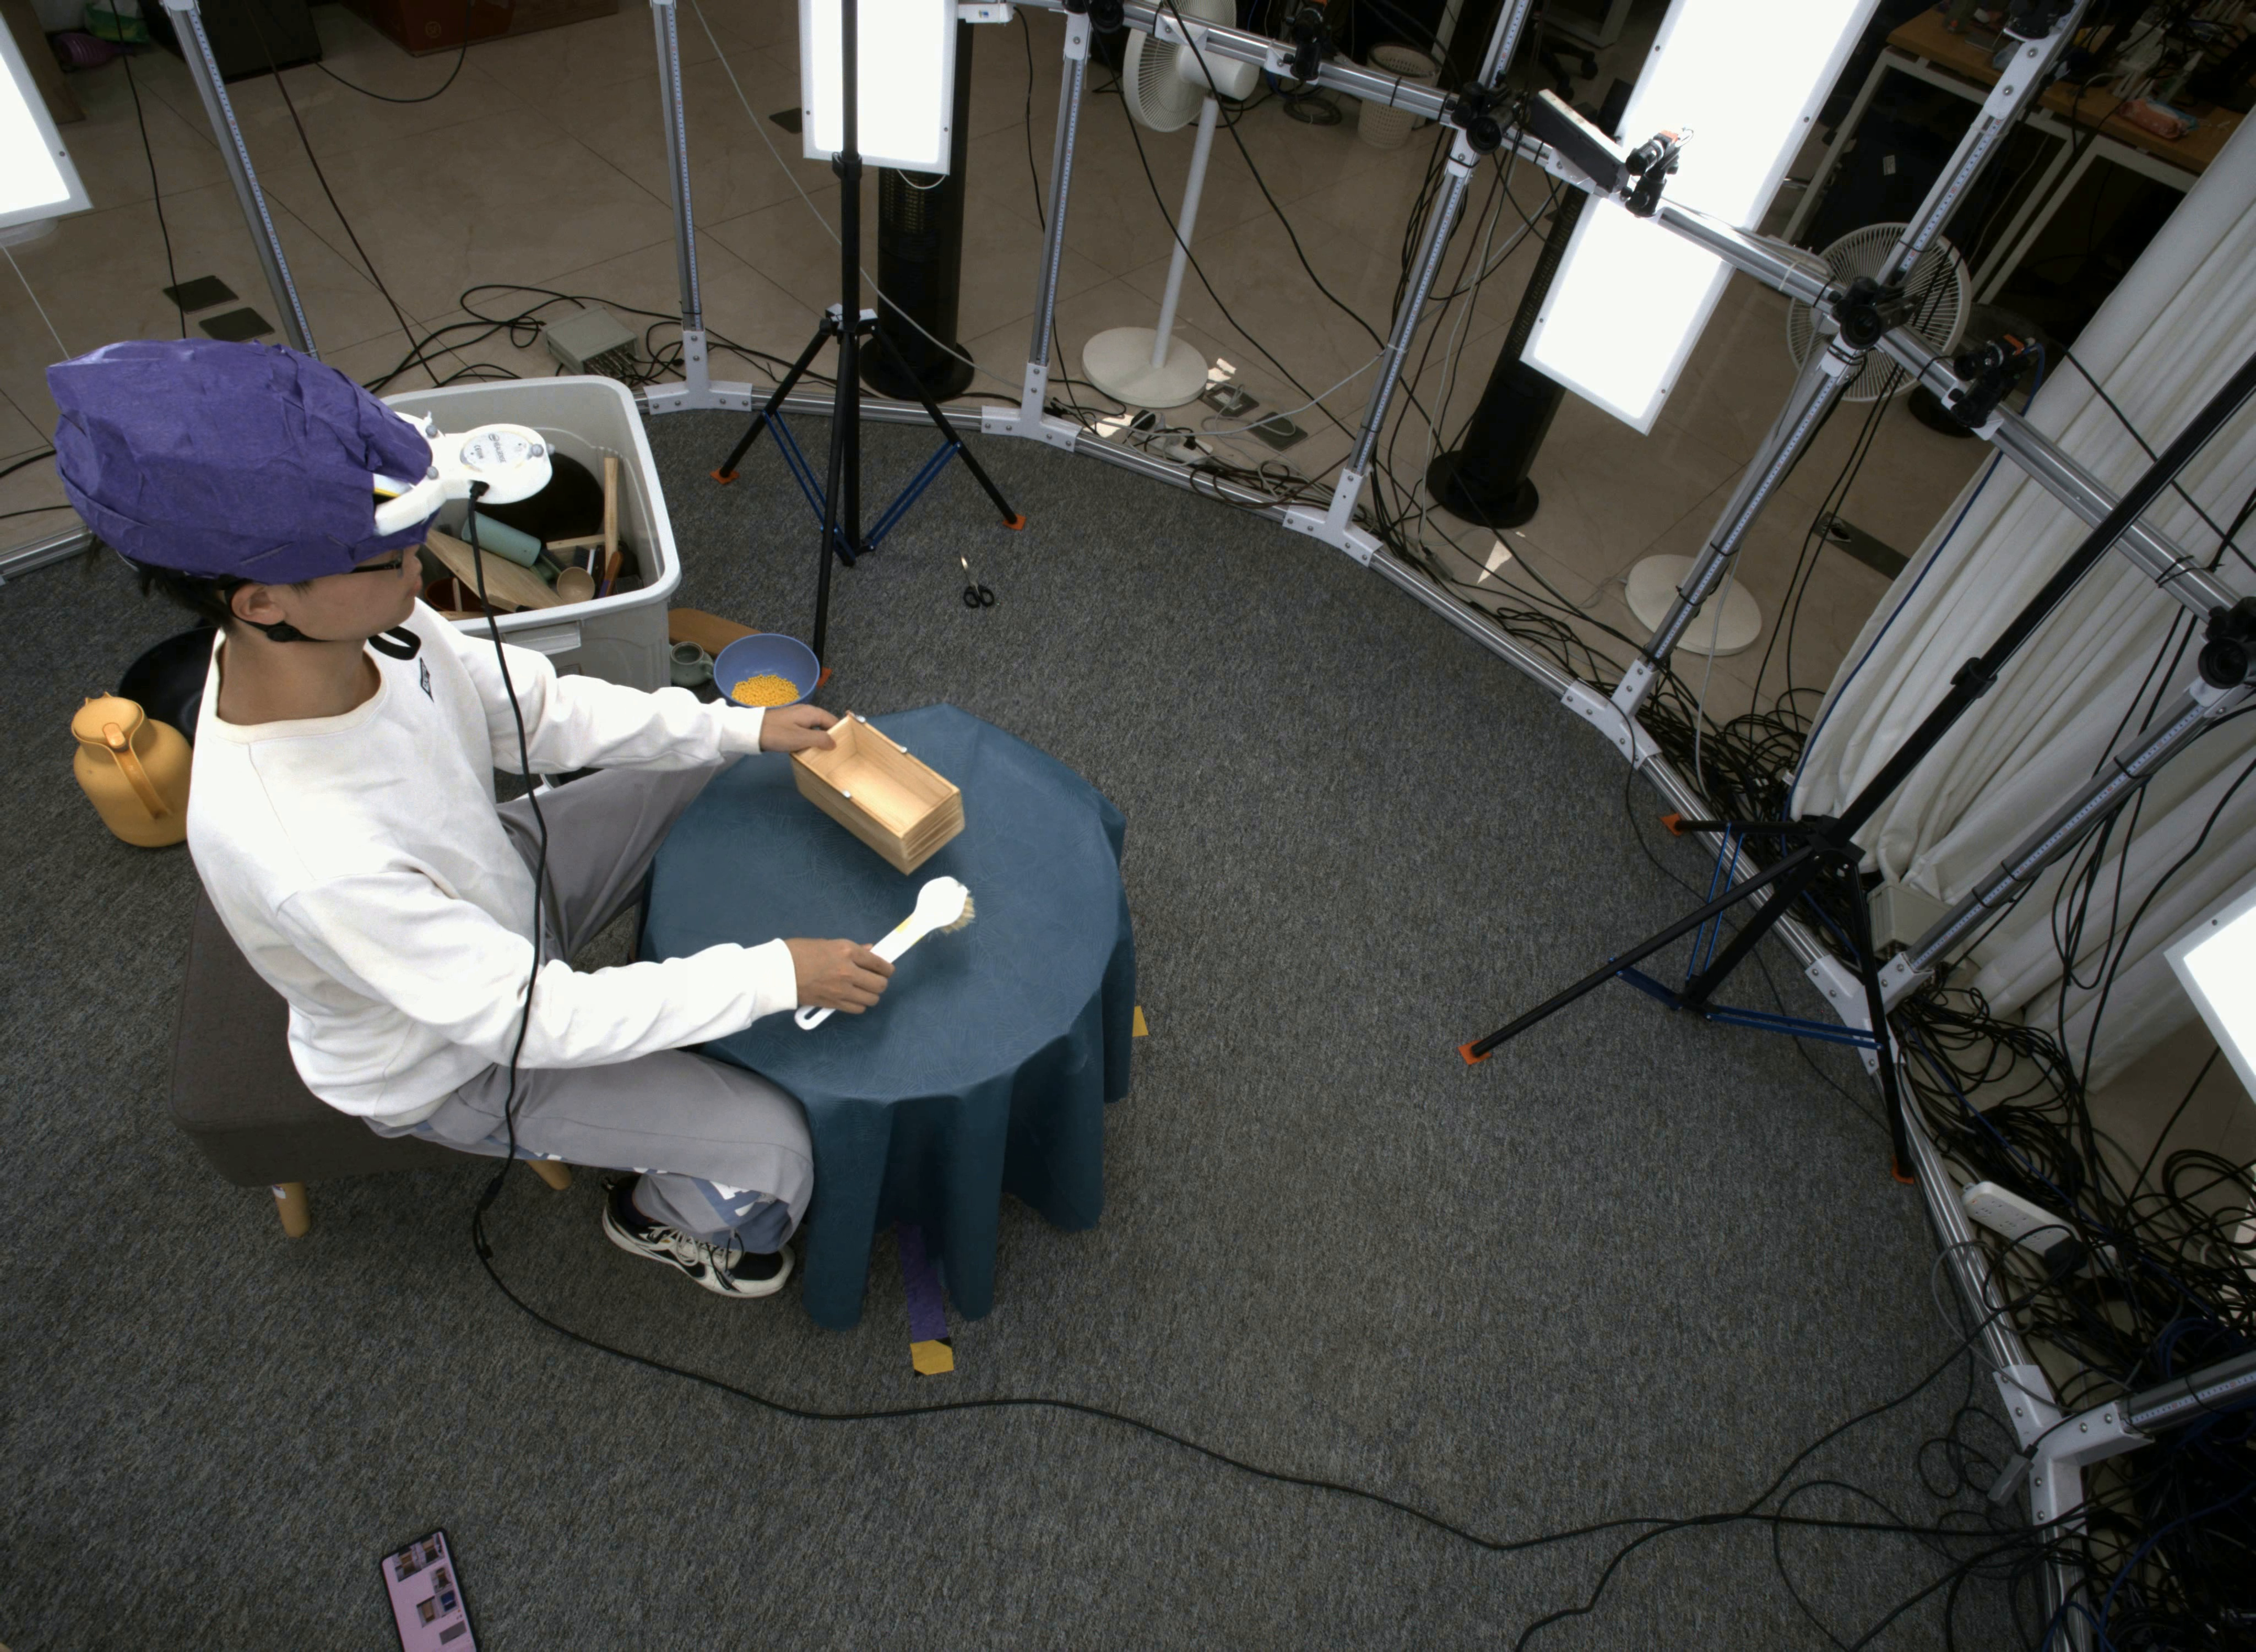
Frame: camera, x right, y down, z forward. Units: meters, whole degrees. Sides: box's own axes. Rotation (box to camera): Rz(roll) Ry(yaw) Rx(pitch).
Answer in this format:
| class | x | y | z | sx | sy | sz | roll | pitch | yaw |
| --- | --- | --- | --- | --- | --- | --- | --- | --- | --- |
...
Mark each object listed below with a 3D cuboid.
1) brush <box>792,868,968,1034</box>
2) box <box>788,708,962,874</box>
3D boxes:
| class | x | y | z | sx | sy | sz | roll | pitch | yaw |
| --- | --- | --- | --- | --- | --- | --- | --- | --- | --- |
| brush | -0.301 | 0.154 | 1.582 | 0.067 | 0.057 | 0.266 | 40 | 76 | 18 |
| box | -0.330 | -0.047 | 1.696 | 0.205 | 0.082 | 0.107 | 34 | 60 | 22 |
